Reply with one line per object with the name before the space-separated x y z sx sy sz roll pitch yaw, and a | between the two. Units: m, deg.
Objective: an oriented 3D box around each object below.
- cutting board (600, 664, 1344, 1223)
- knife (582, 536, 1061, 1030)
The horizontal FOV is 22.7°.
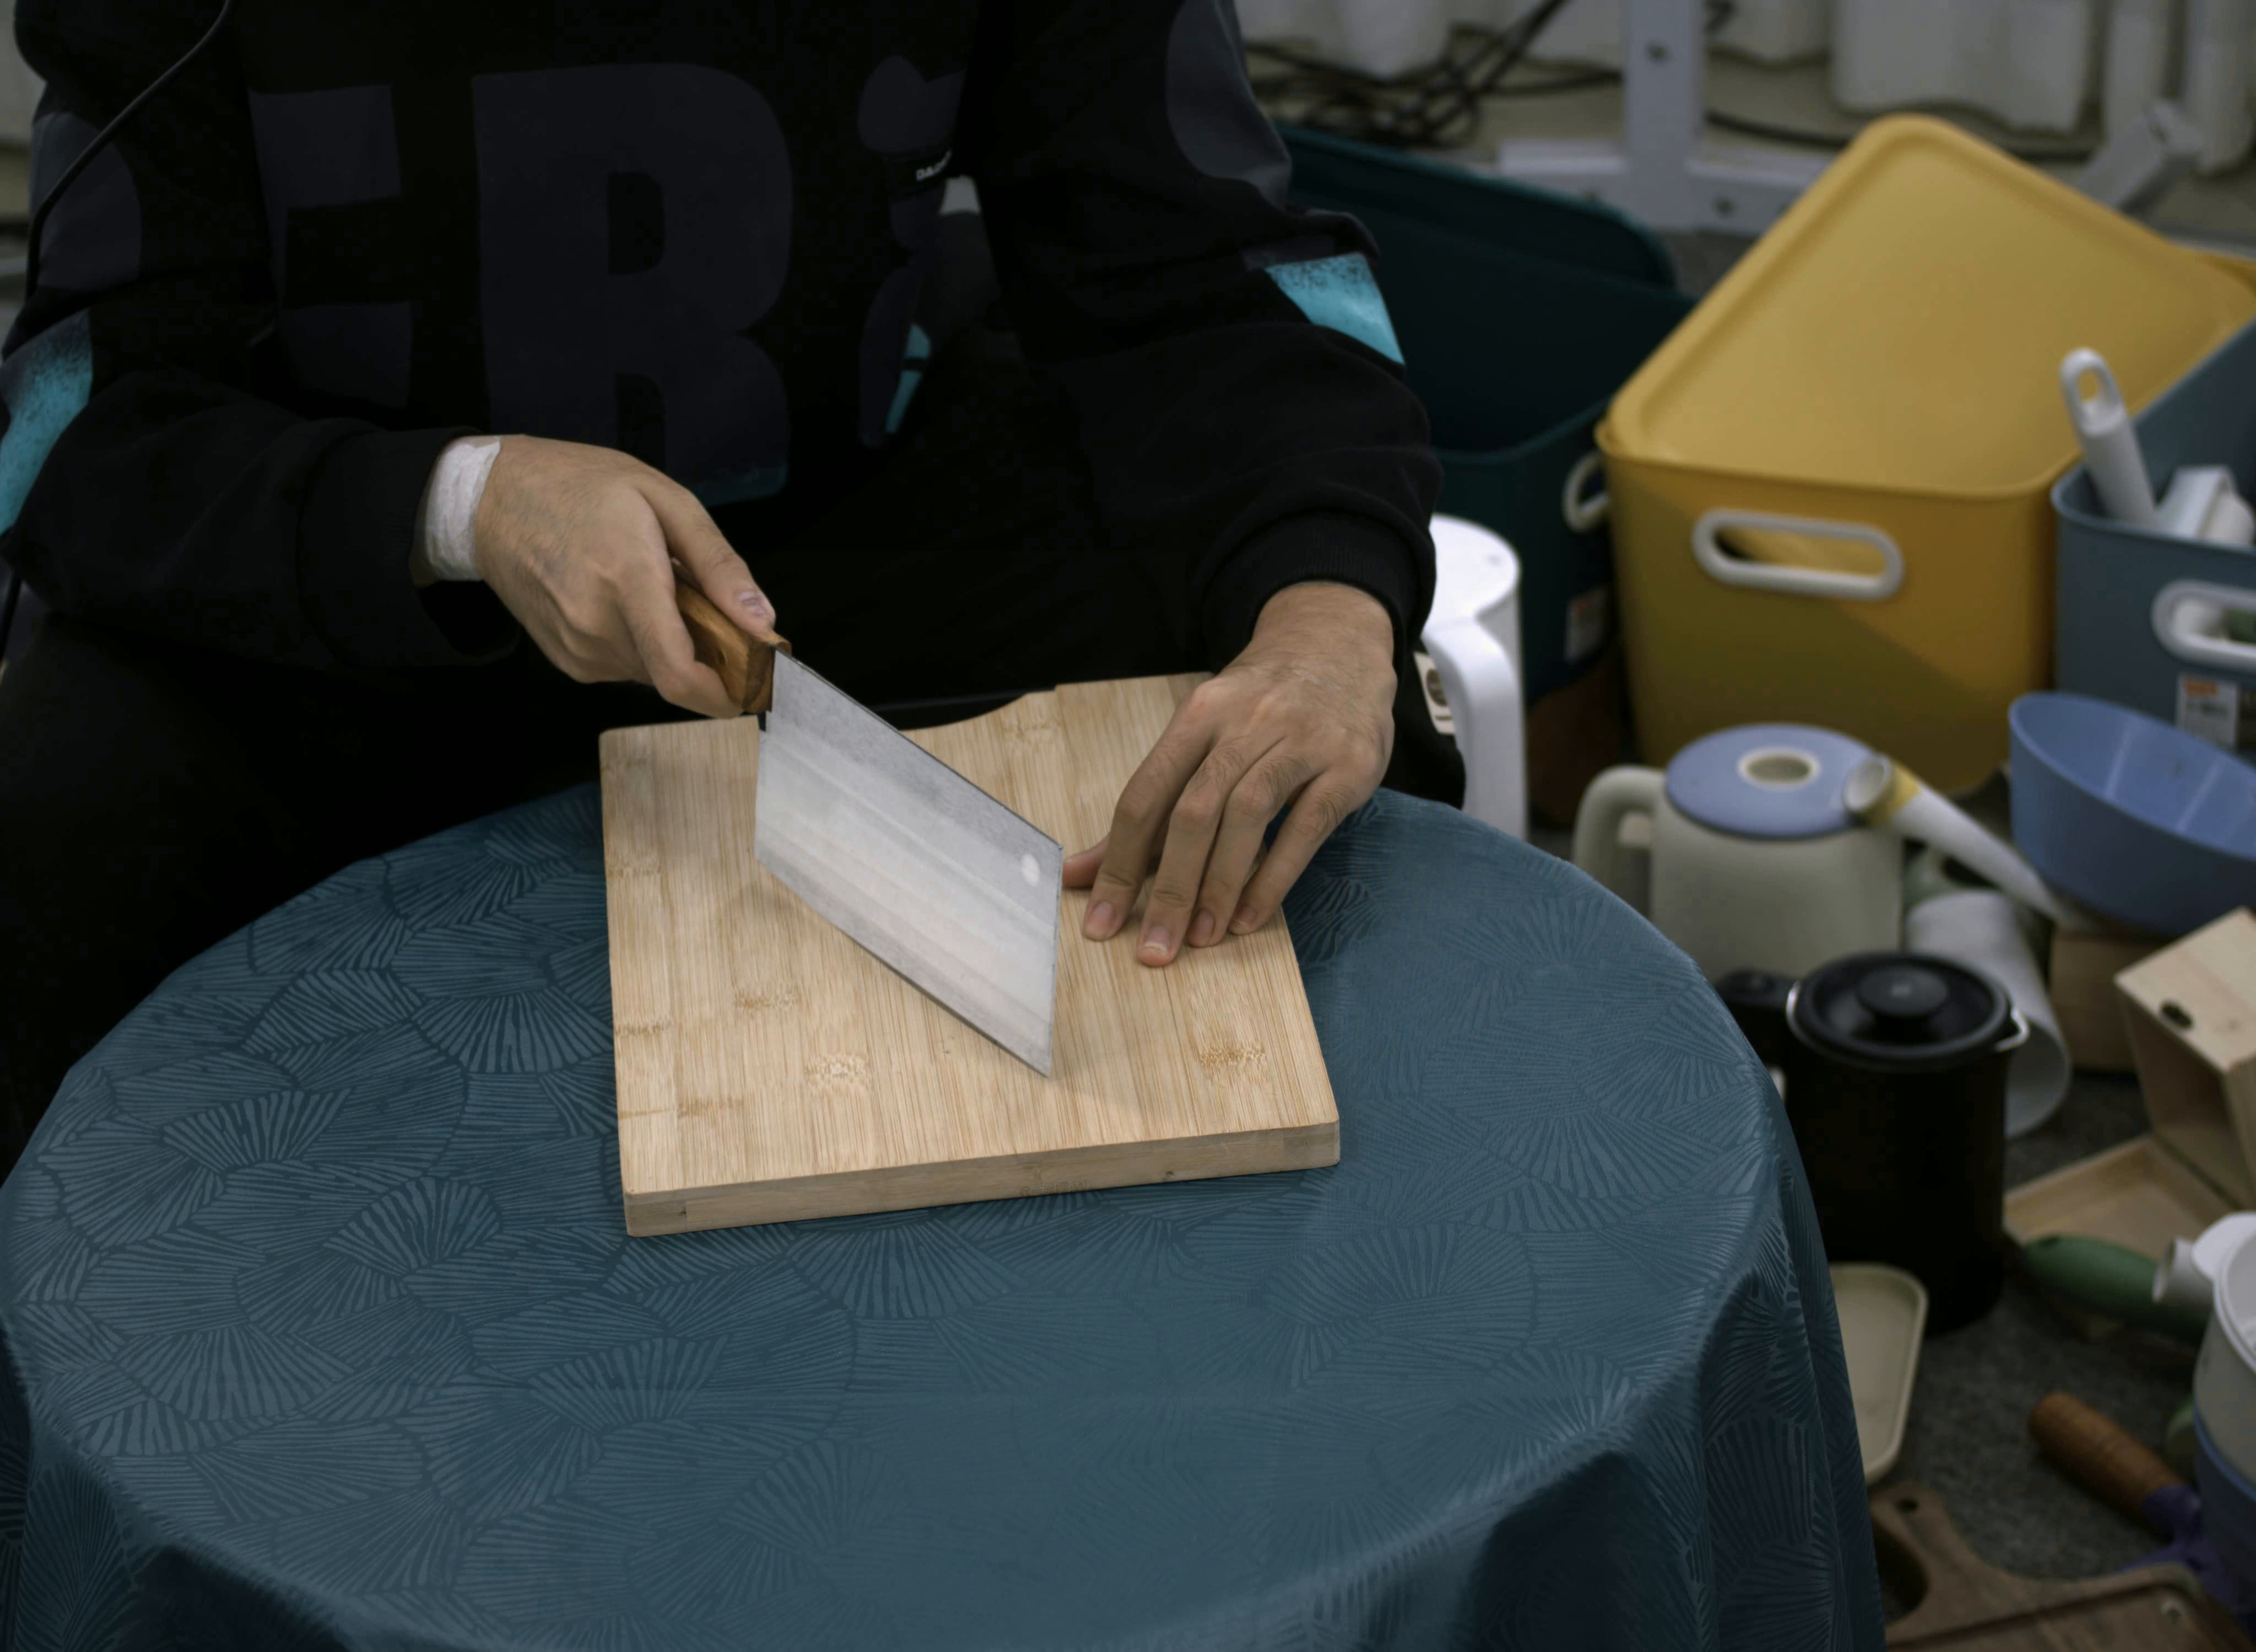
cutting board | -0.065 0.037 2.013 0.250 0.023 0.353 -6 28 -5
knife | -0.110 -0.014 1.984 0.021 0.092 0.307 -13 30 -33
